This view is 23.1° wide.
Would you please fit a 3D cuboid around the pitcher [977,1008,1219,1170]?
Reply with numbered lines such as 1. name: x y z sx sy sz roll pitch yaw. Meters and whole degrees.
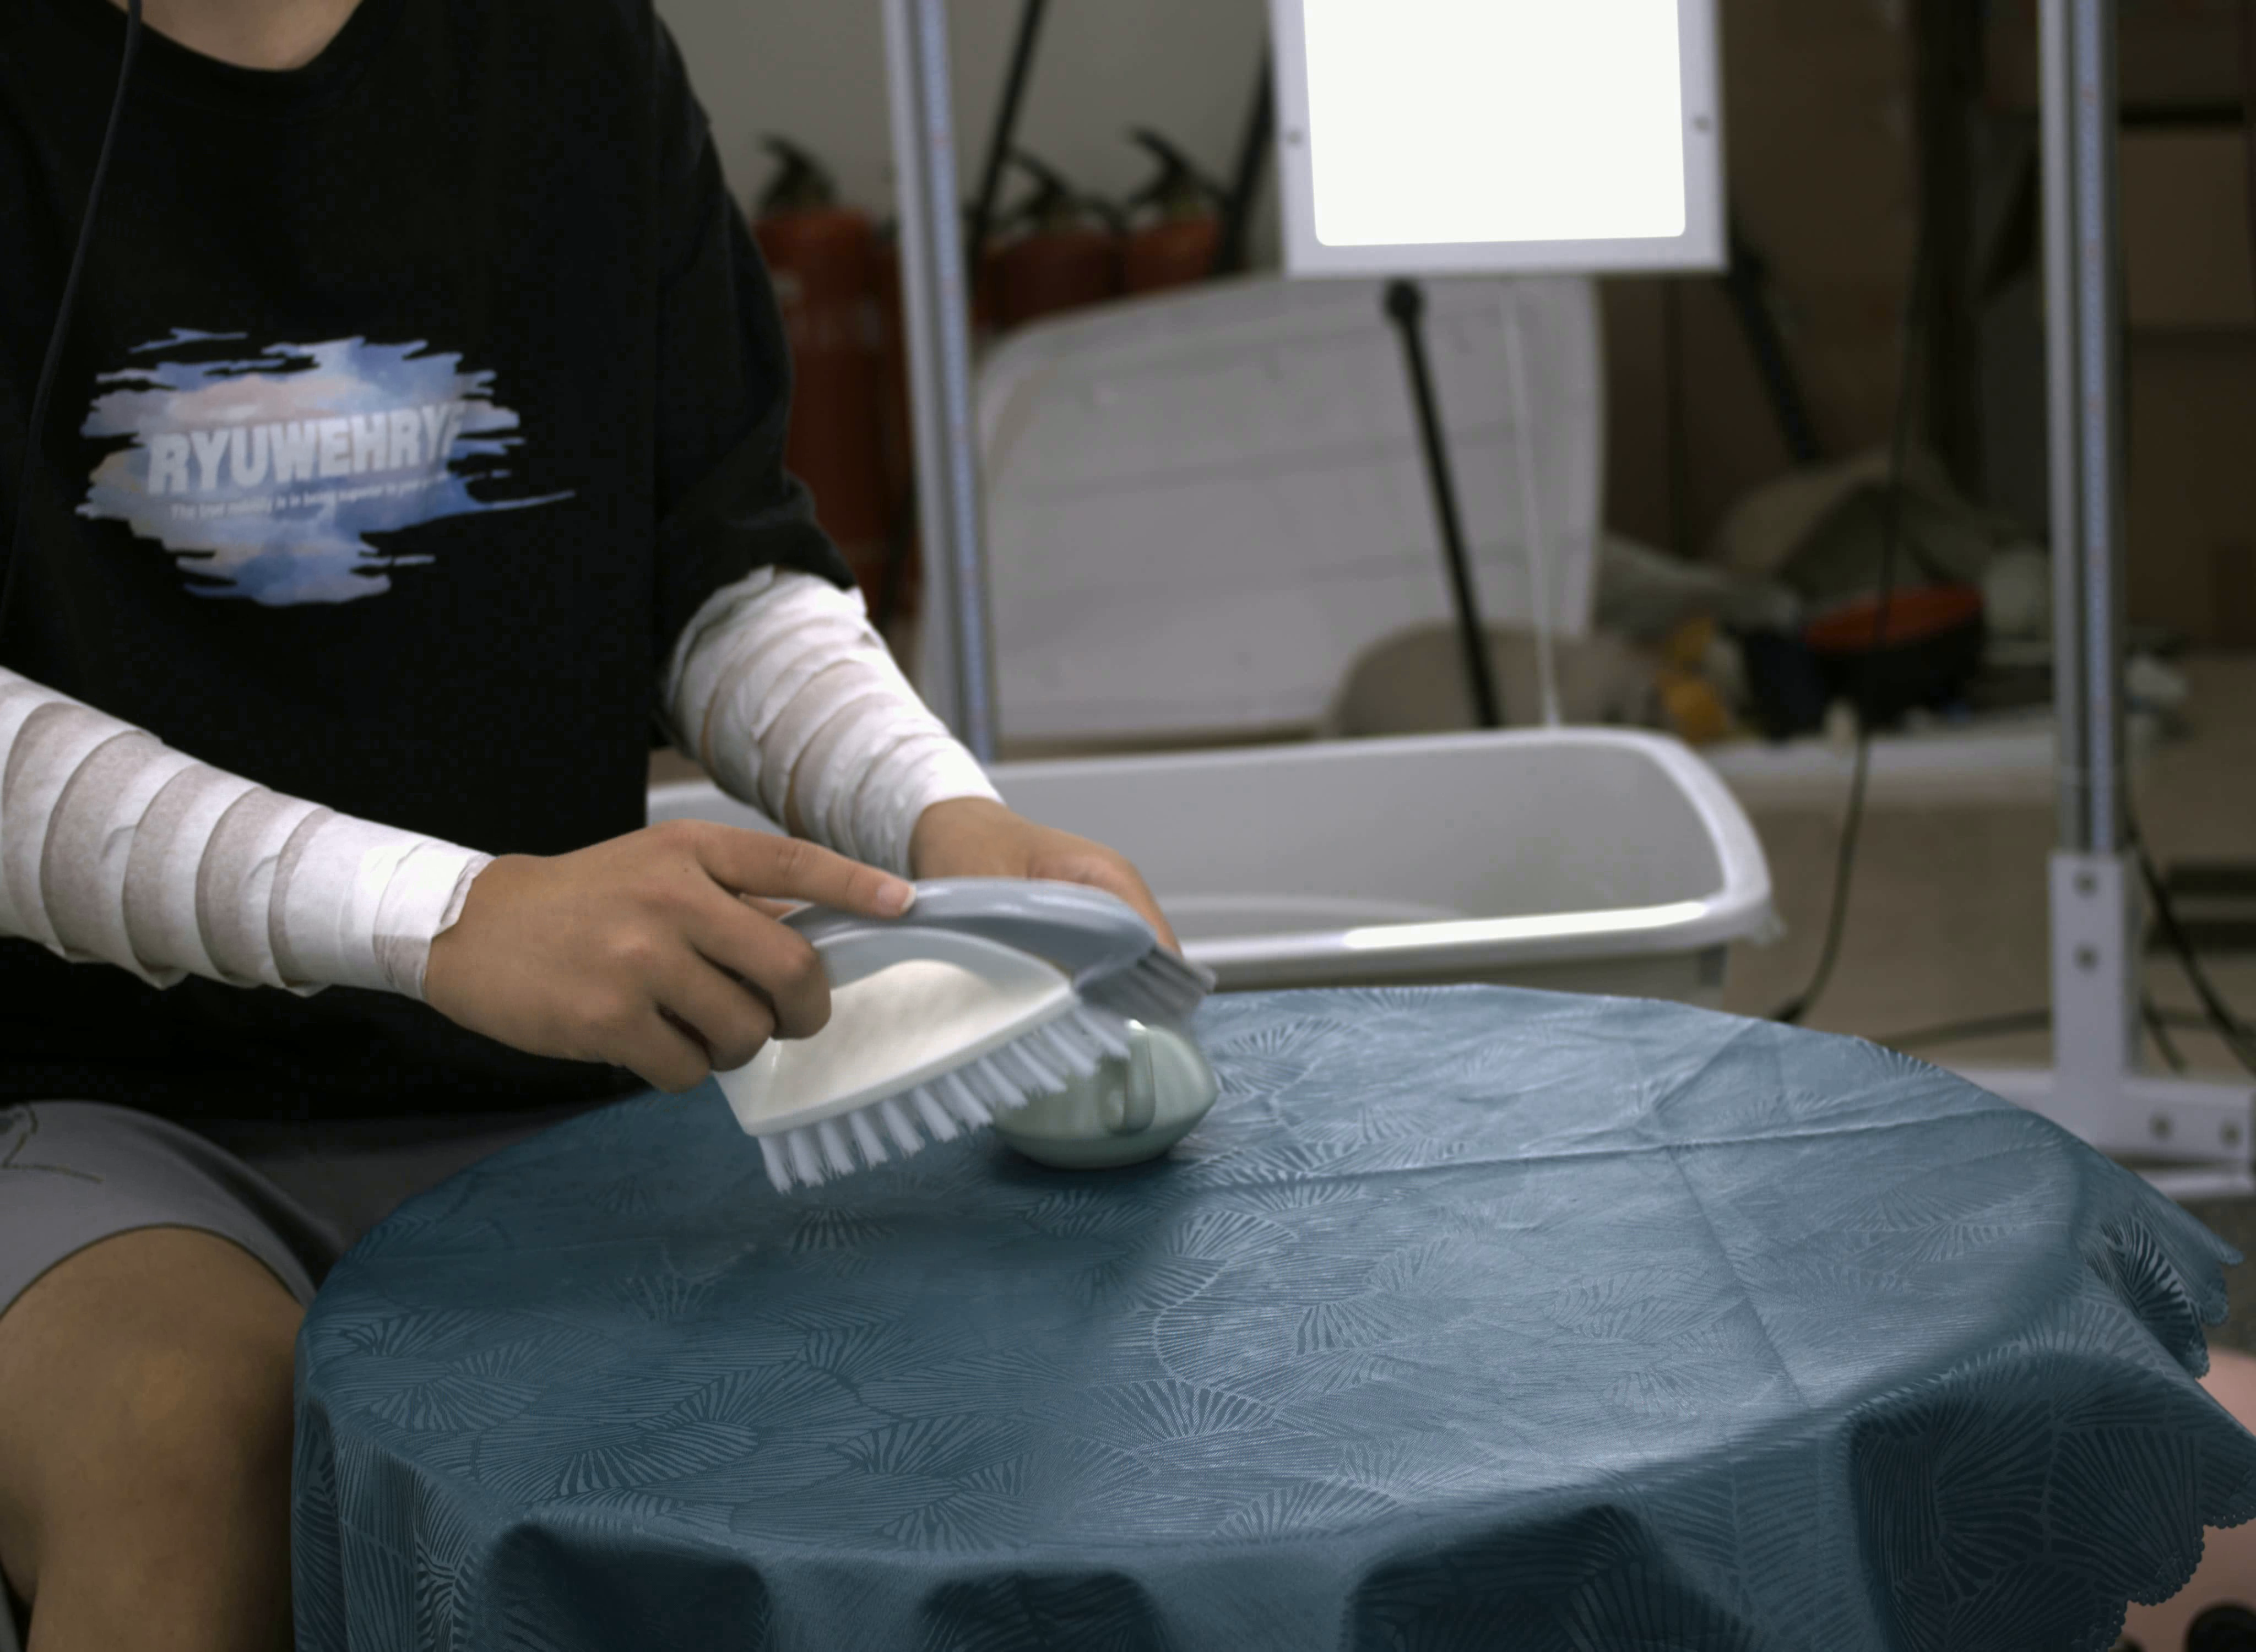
1. pitcher: -0.007 0.089 1.935 0.085 0.060 0.109 -9 17 -15

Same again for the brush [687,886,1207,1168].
1. brush: -0.068 0.053 1.854 0.178 0.093 0.061 -16 44 26
